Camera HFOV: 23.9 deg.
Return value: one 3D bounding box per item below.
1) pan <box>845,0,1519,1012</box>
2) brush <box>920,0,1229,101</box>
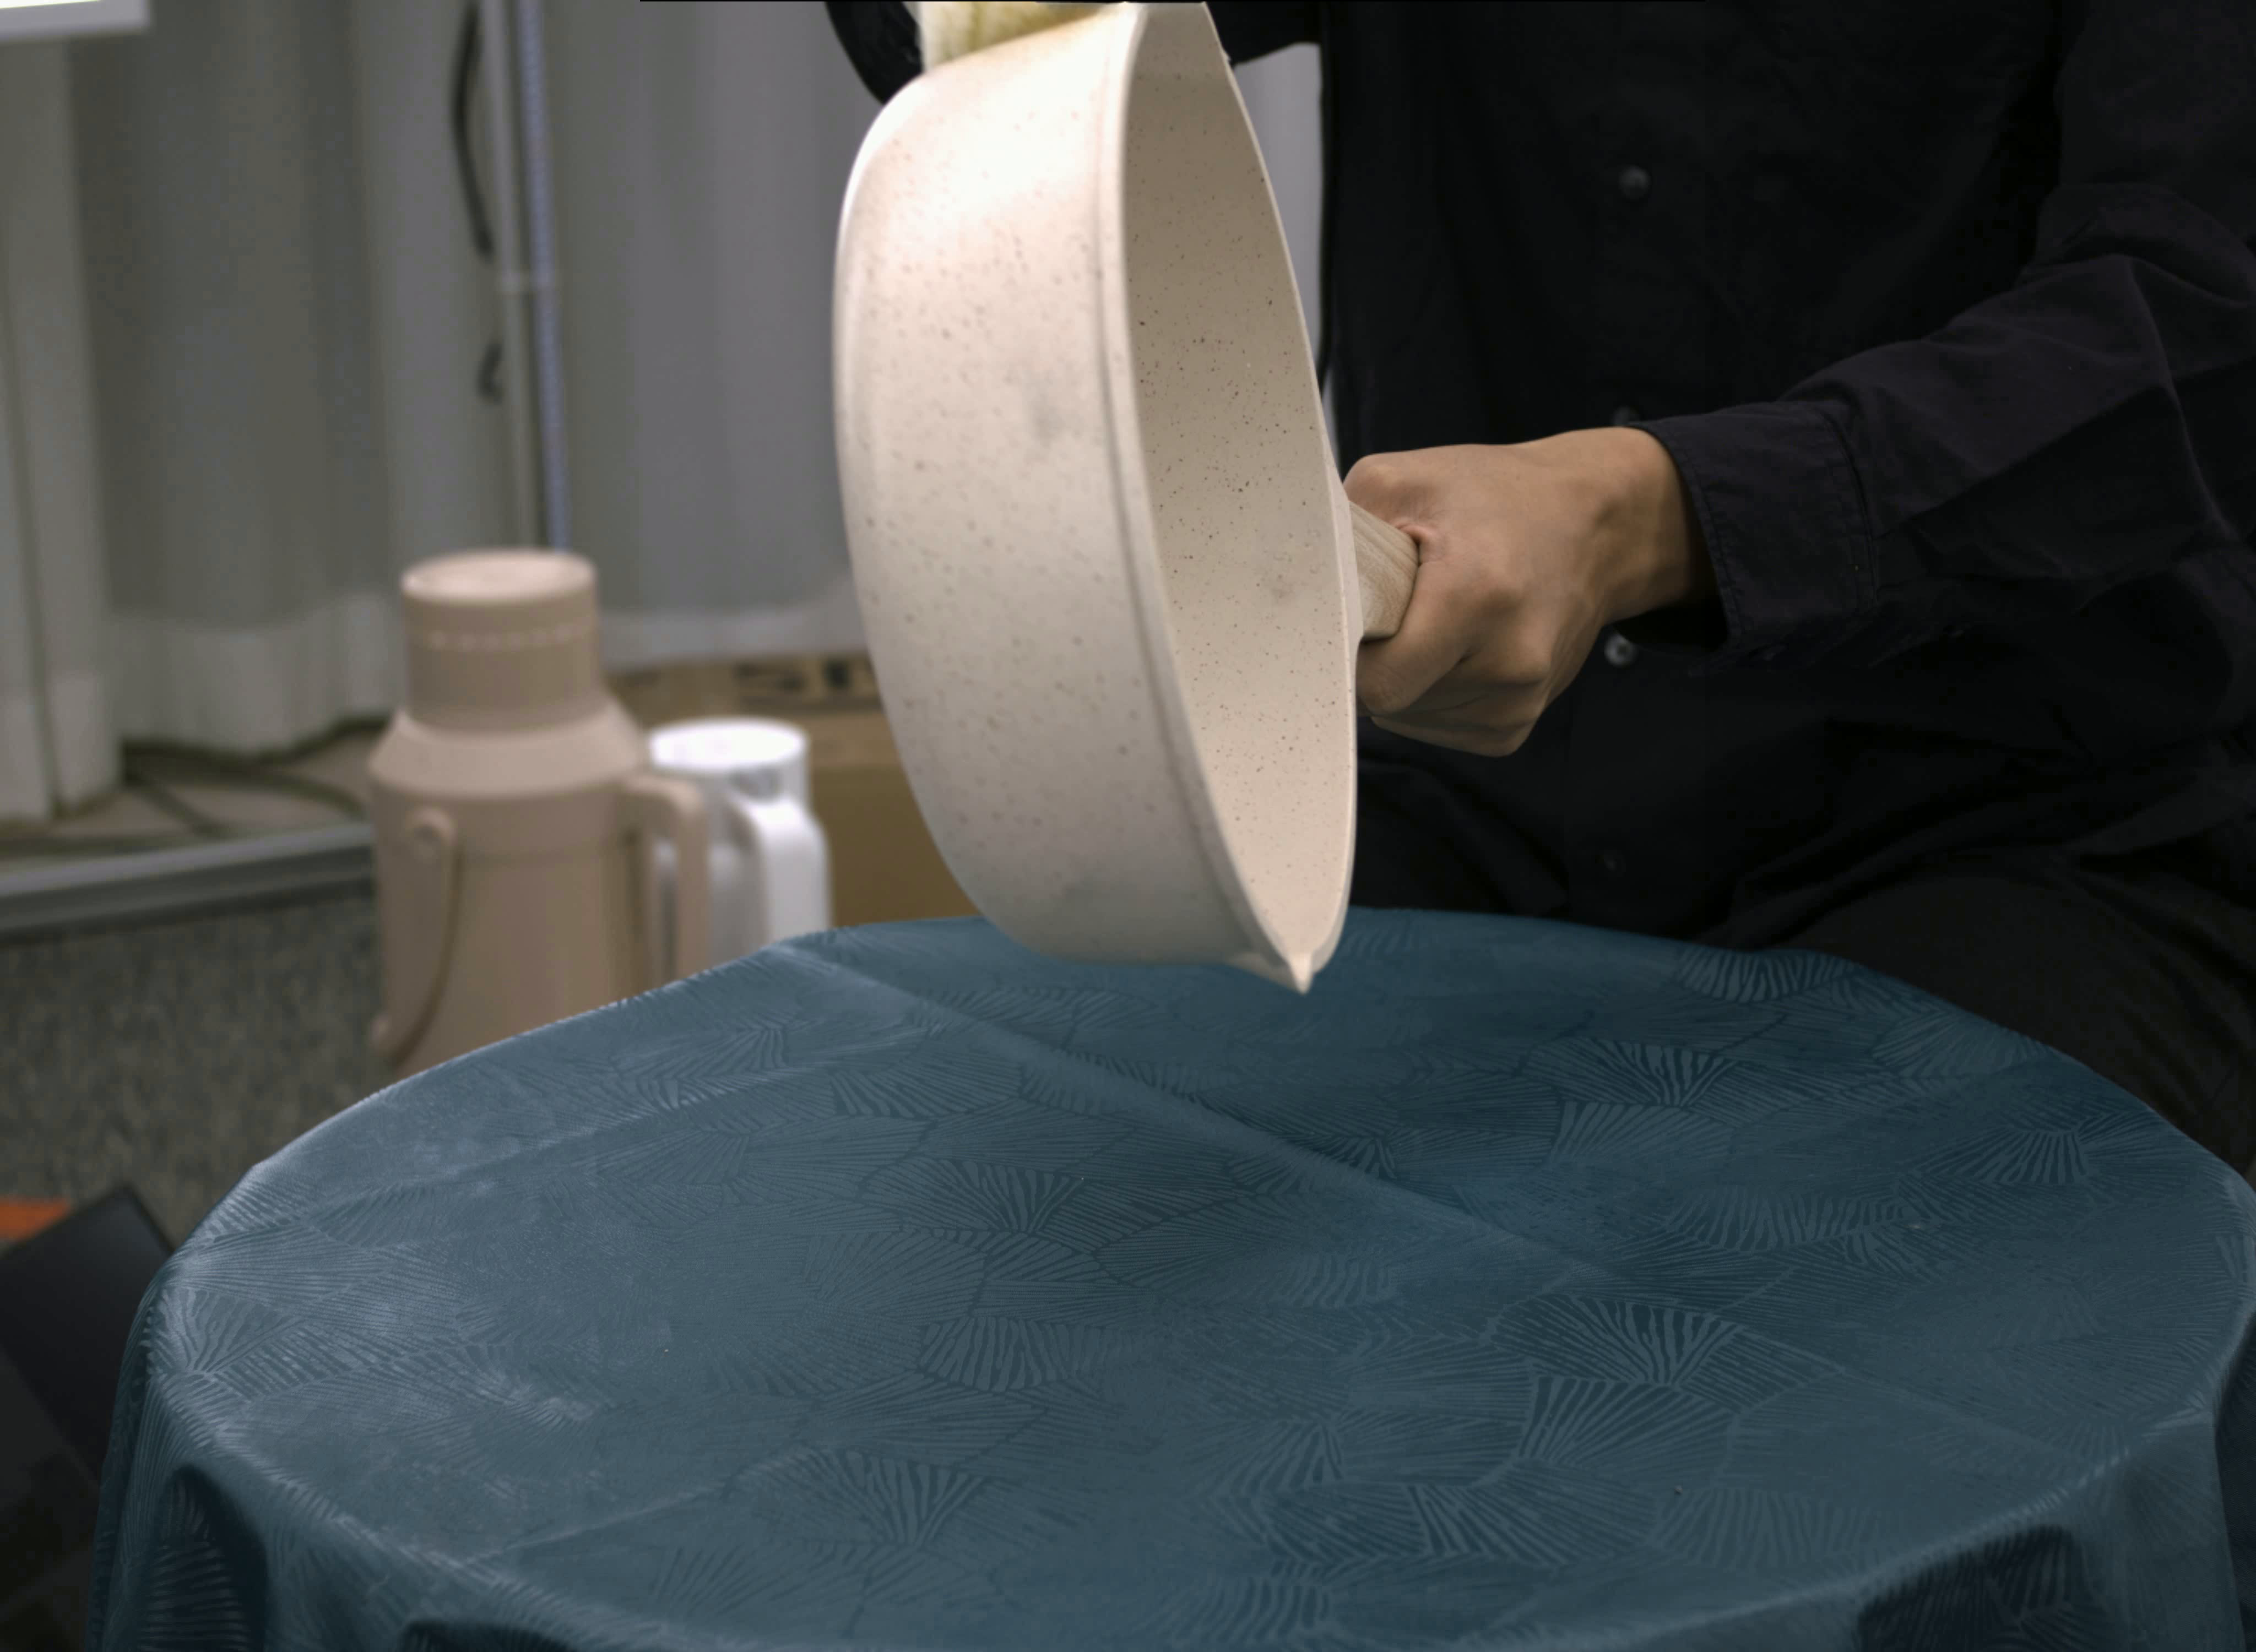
[{"bbox_3d":[0.022,-0.069,1.430,0.102,0.265,0.429,-10,-8,12],"label":"pan"},{"bbox_3d":[-0.004,-0.226,1.487,0.083,0.085,0.323,17,6,7],"label":"brush"}]
